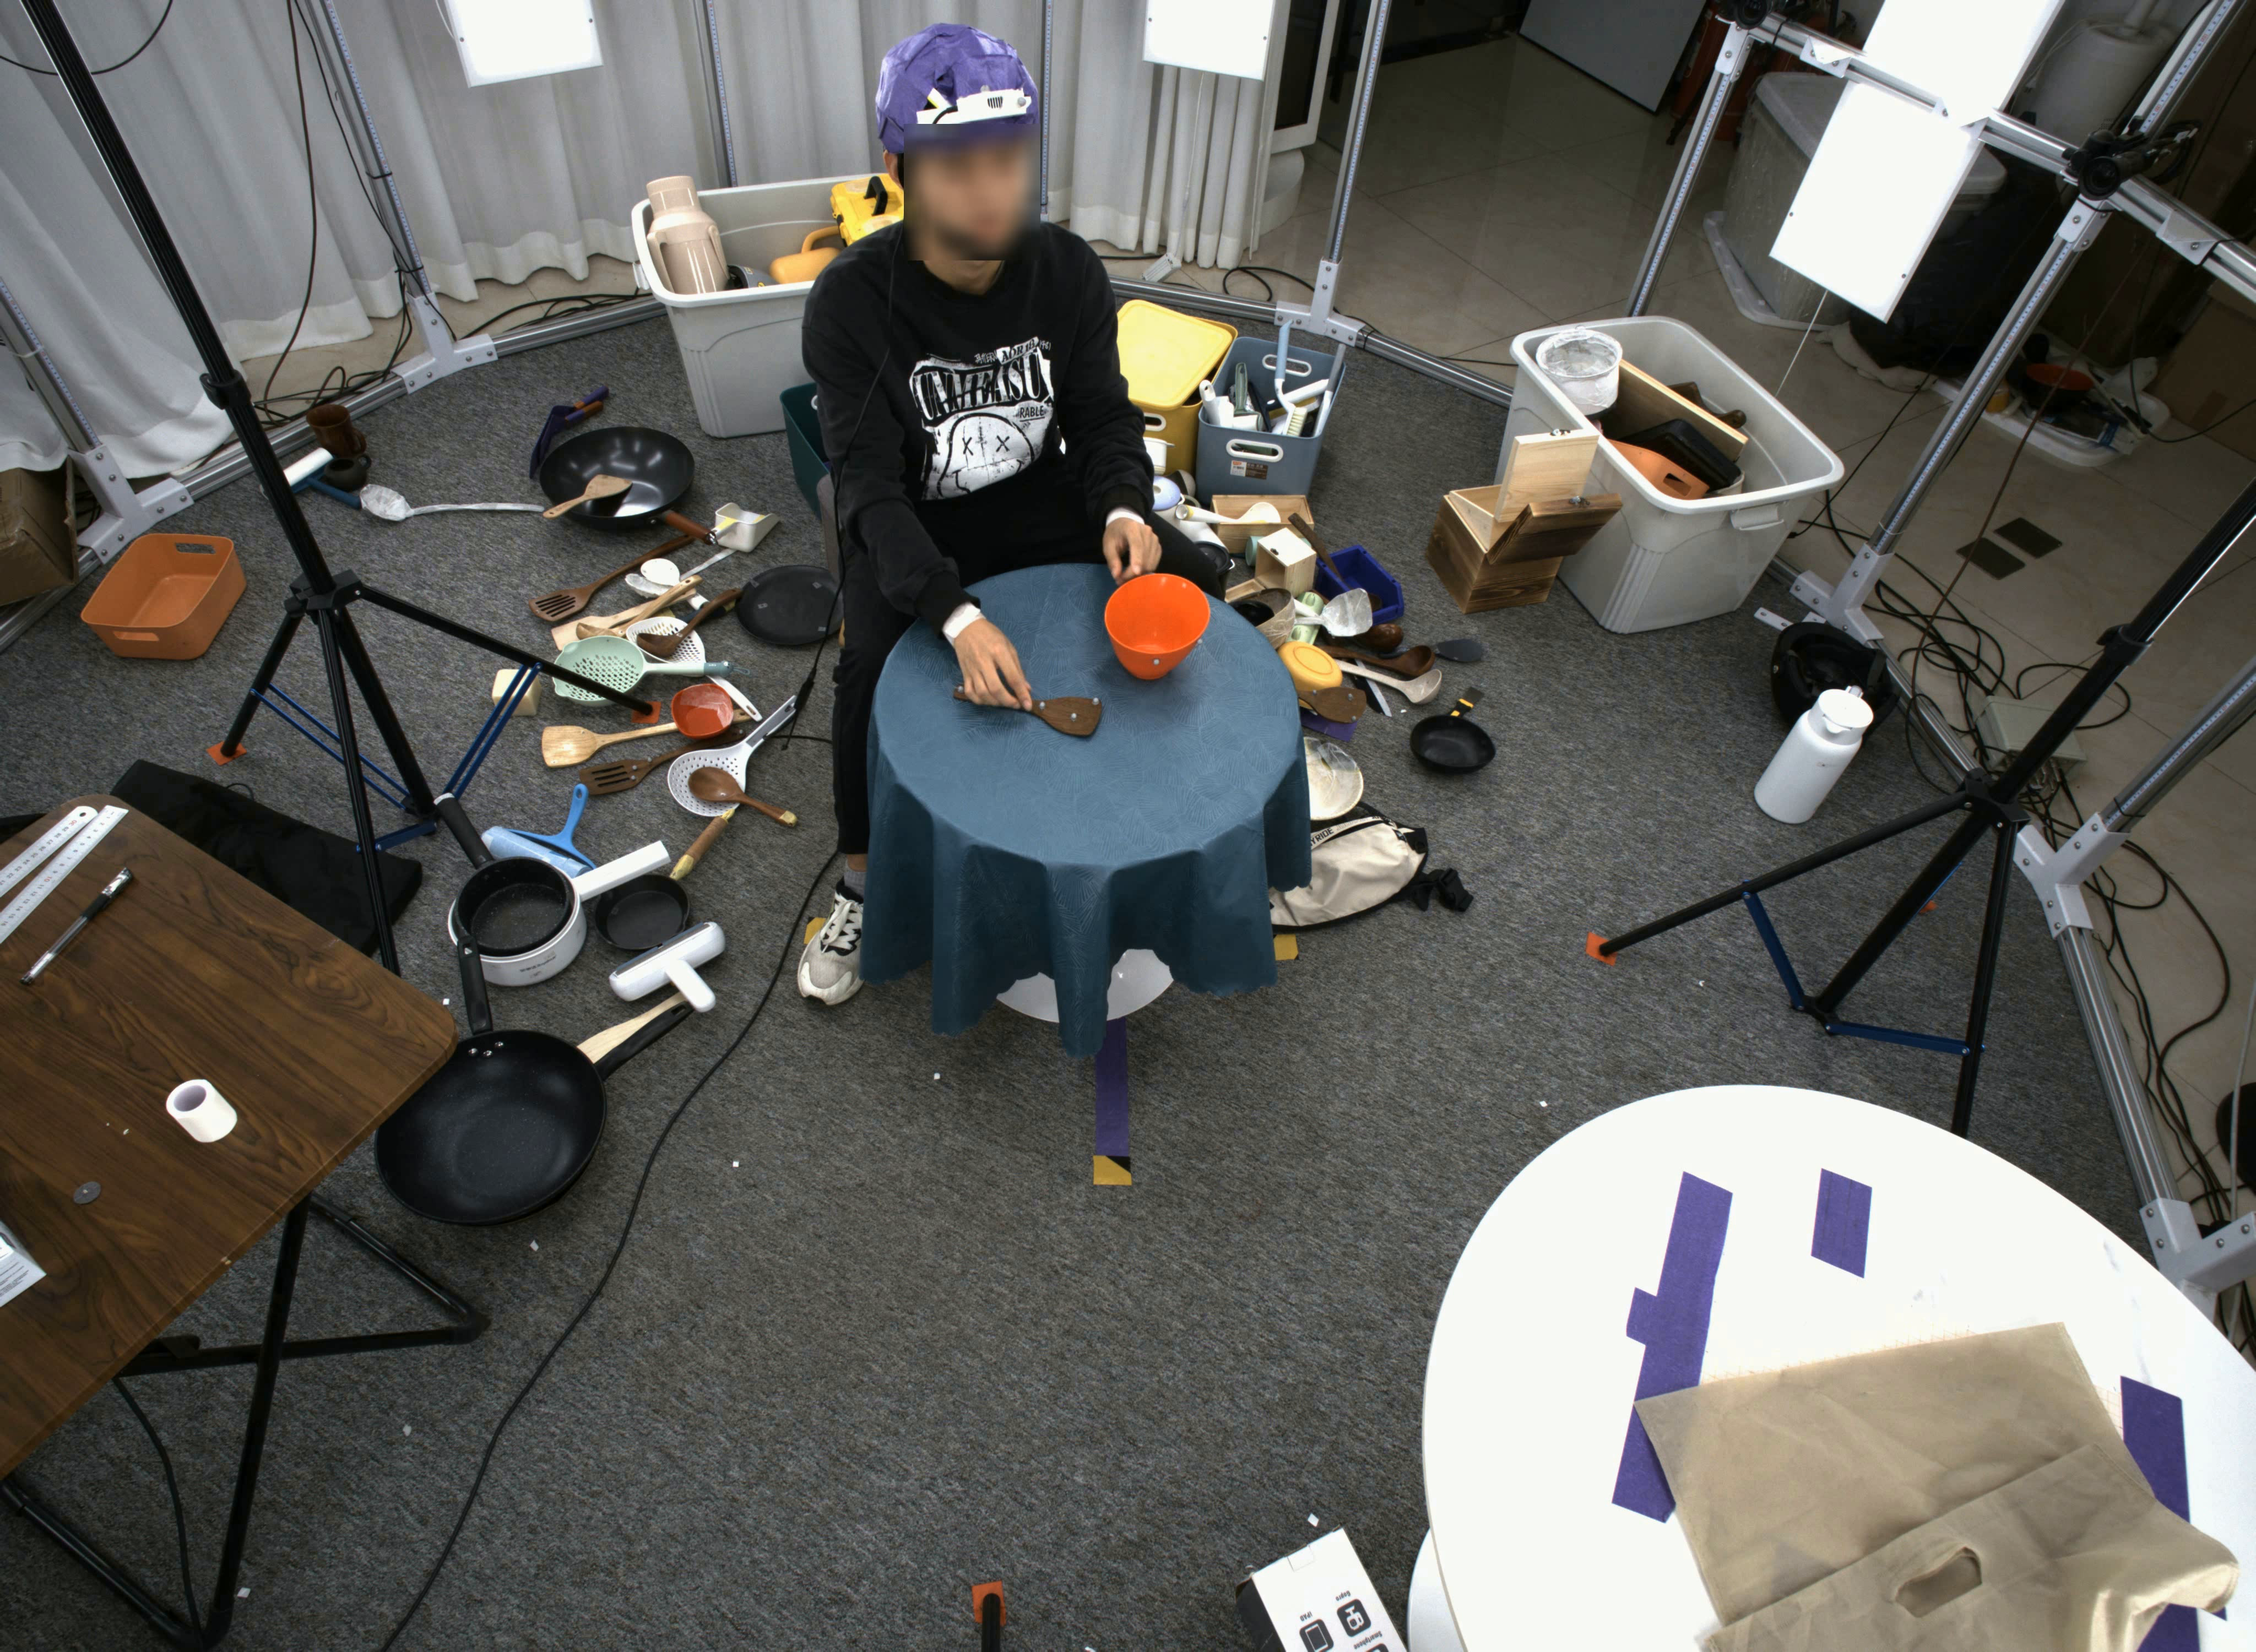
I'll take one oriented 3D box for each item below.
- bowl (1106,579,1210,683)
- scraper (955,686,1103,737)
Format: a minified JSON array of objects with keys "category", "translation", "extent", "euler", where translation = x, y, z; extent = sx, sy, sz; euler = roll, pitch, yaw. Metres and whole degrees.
[{"category":"bowl","translation":[0.040,-0.272,1.860],"extent":[0.148,0.102,0.152],"euler":[2,49,-2]},{"category":"scraper","translation":[-0.141,-0.170,1.817],"extent":[0.212,0.010,0.077],"euler":[12,49,8]}]
